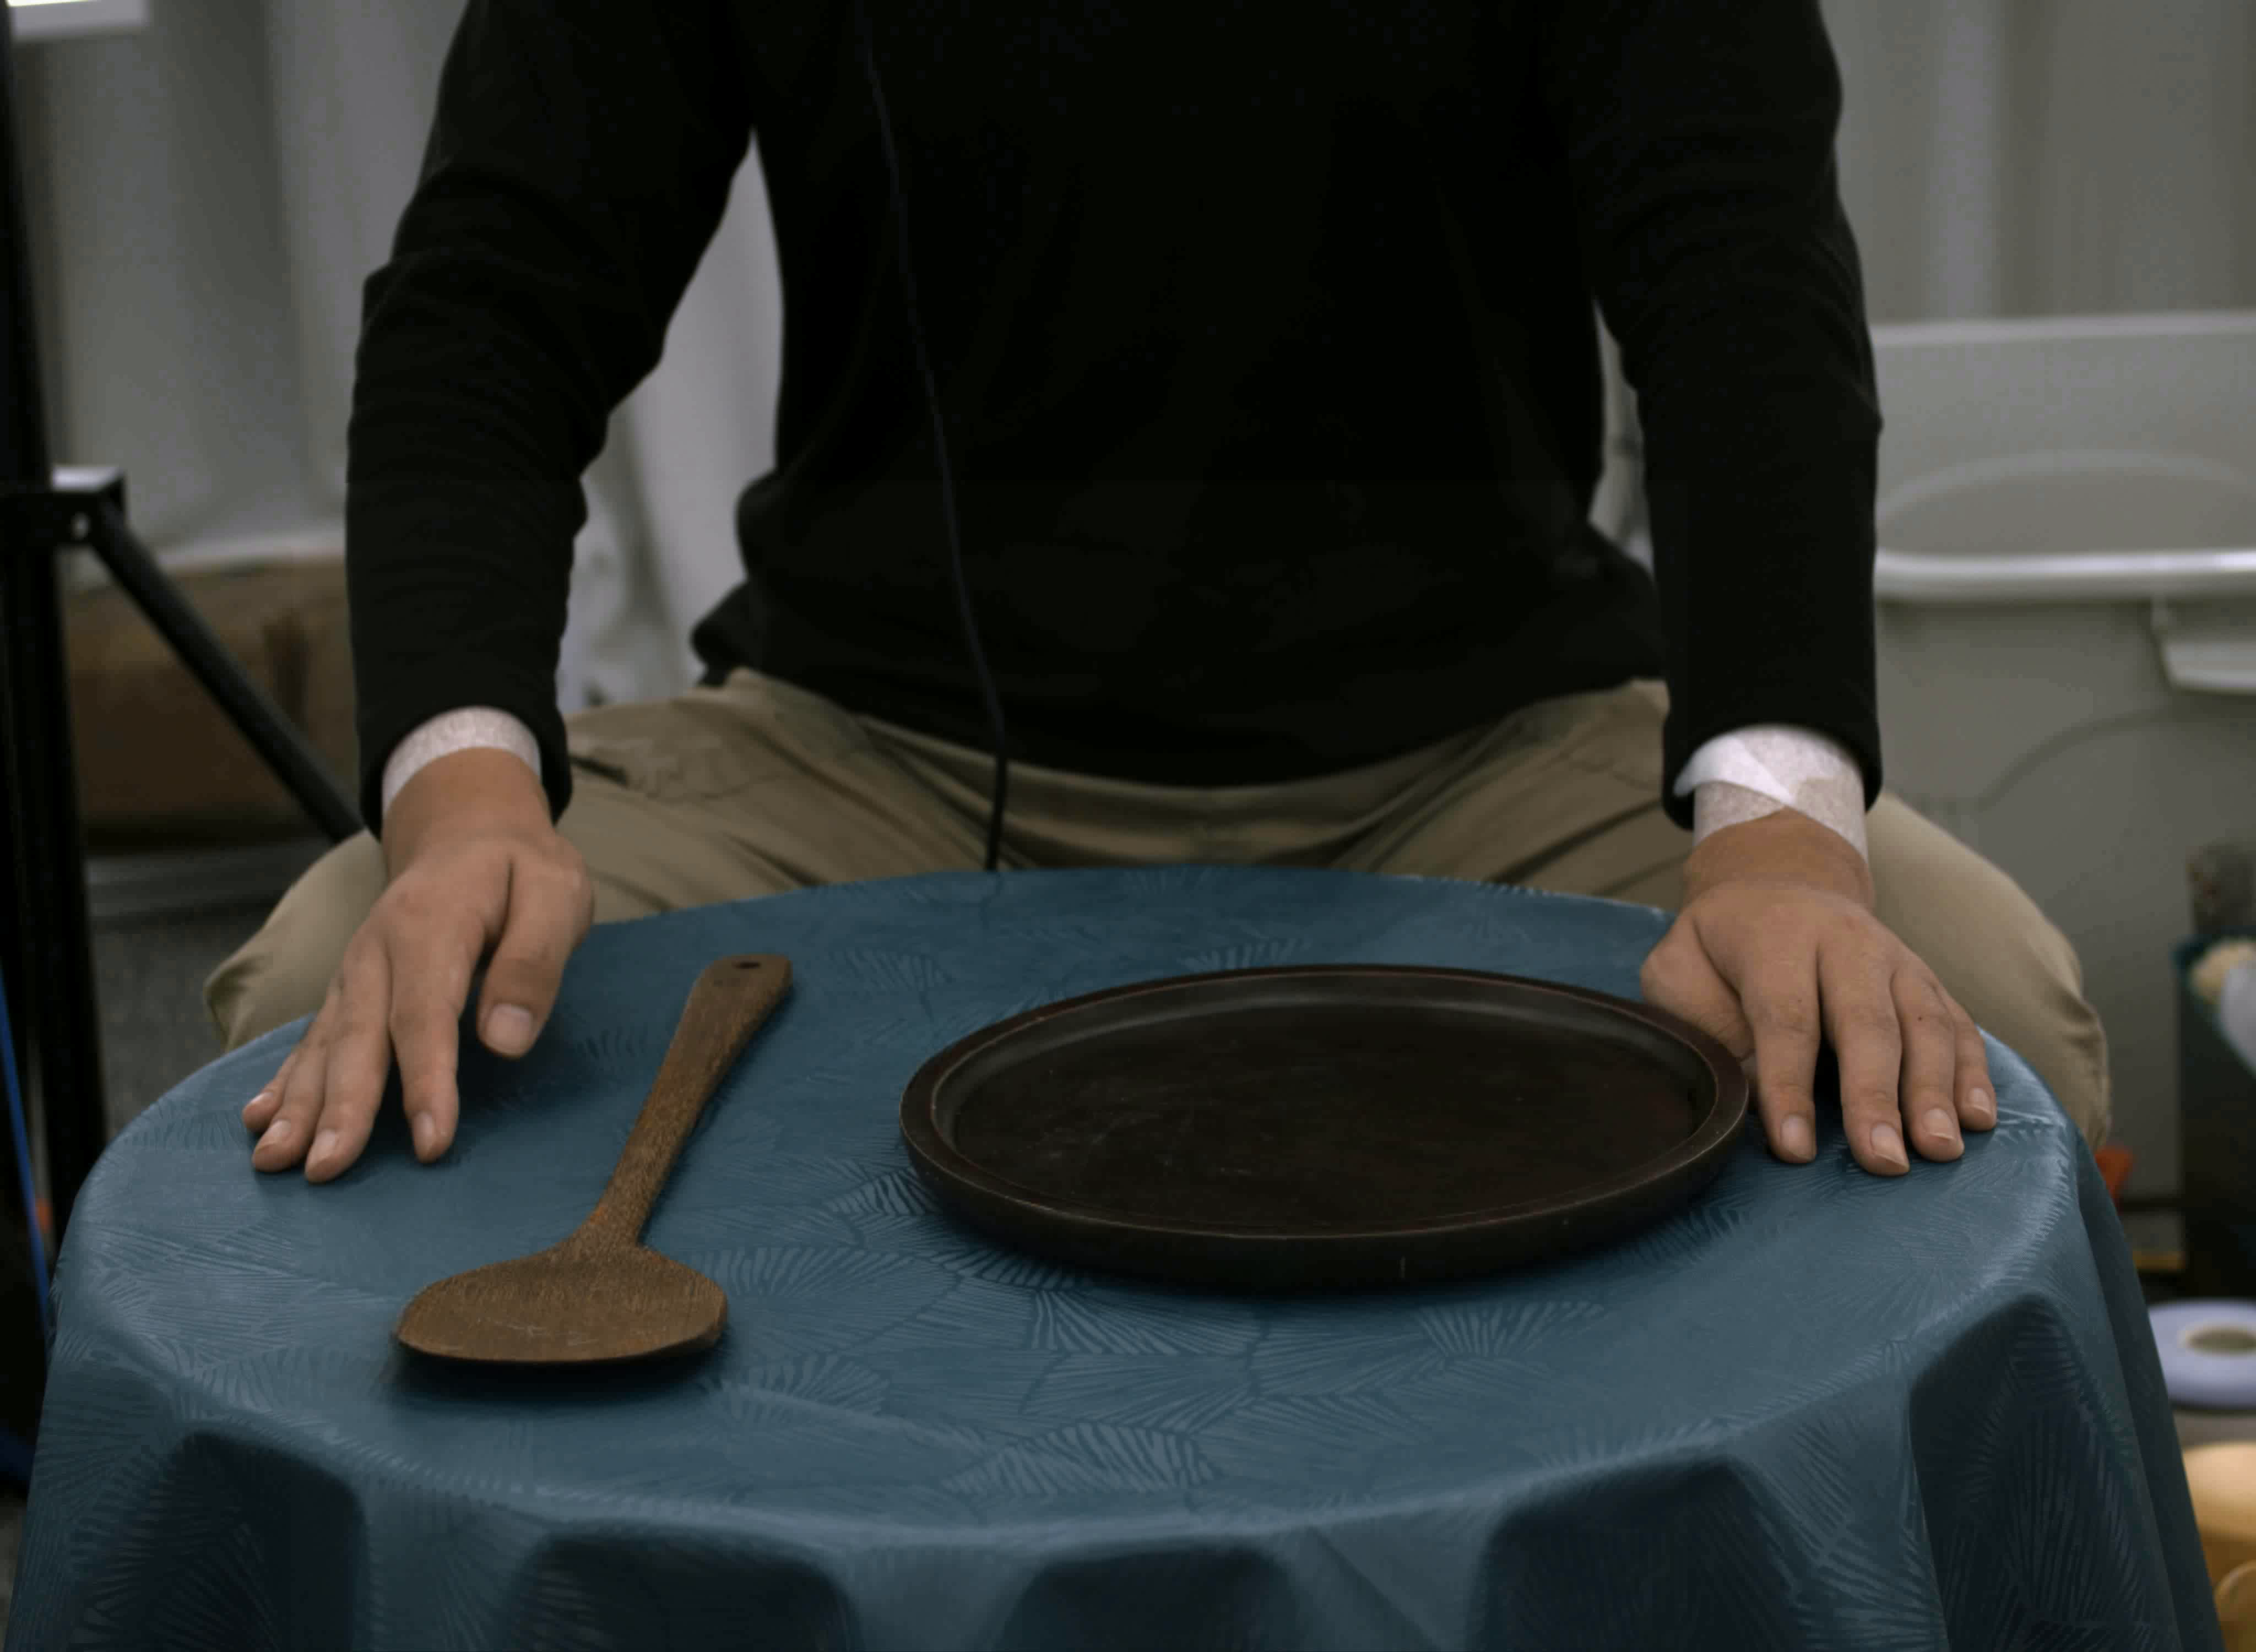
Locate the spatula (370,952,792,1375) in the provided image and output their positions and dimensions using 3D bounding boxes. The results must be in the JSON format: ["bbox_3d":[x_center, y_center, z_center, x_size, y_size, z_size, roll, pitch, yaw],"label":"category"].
[{"bbox_3d":[-0.142,0.095,1.601,0.096,0.016,0.385,0,16,6],"label":"spatula"}]

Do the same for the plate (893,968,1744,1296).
[{"bbox_3d":[0.057,0.088,1.575,0.253,0.029,0.256,-4,15,0],"label":"plate"}]
